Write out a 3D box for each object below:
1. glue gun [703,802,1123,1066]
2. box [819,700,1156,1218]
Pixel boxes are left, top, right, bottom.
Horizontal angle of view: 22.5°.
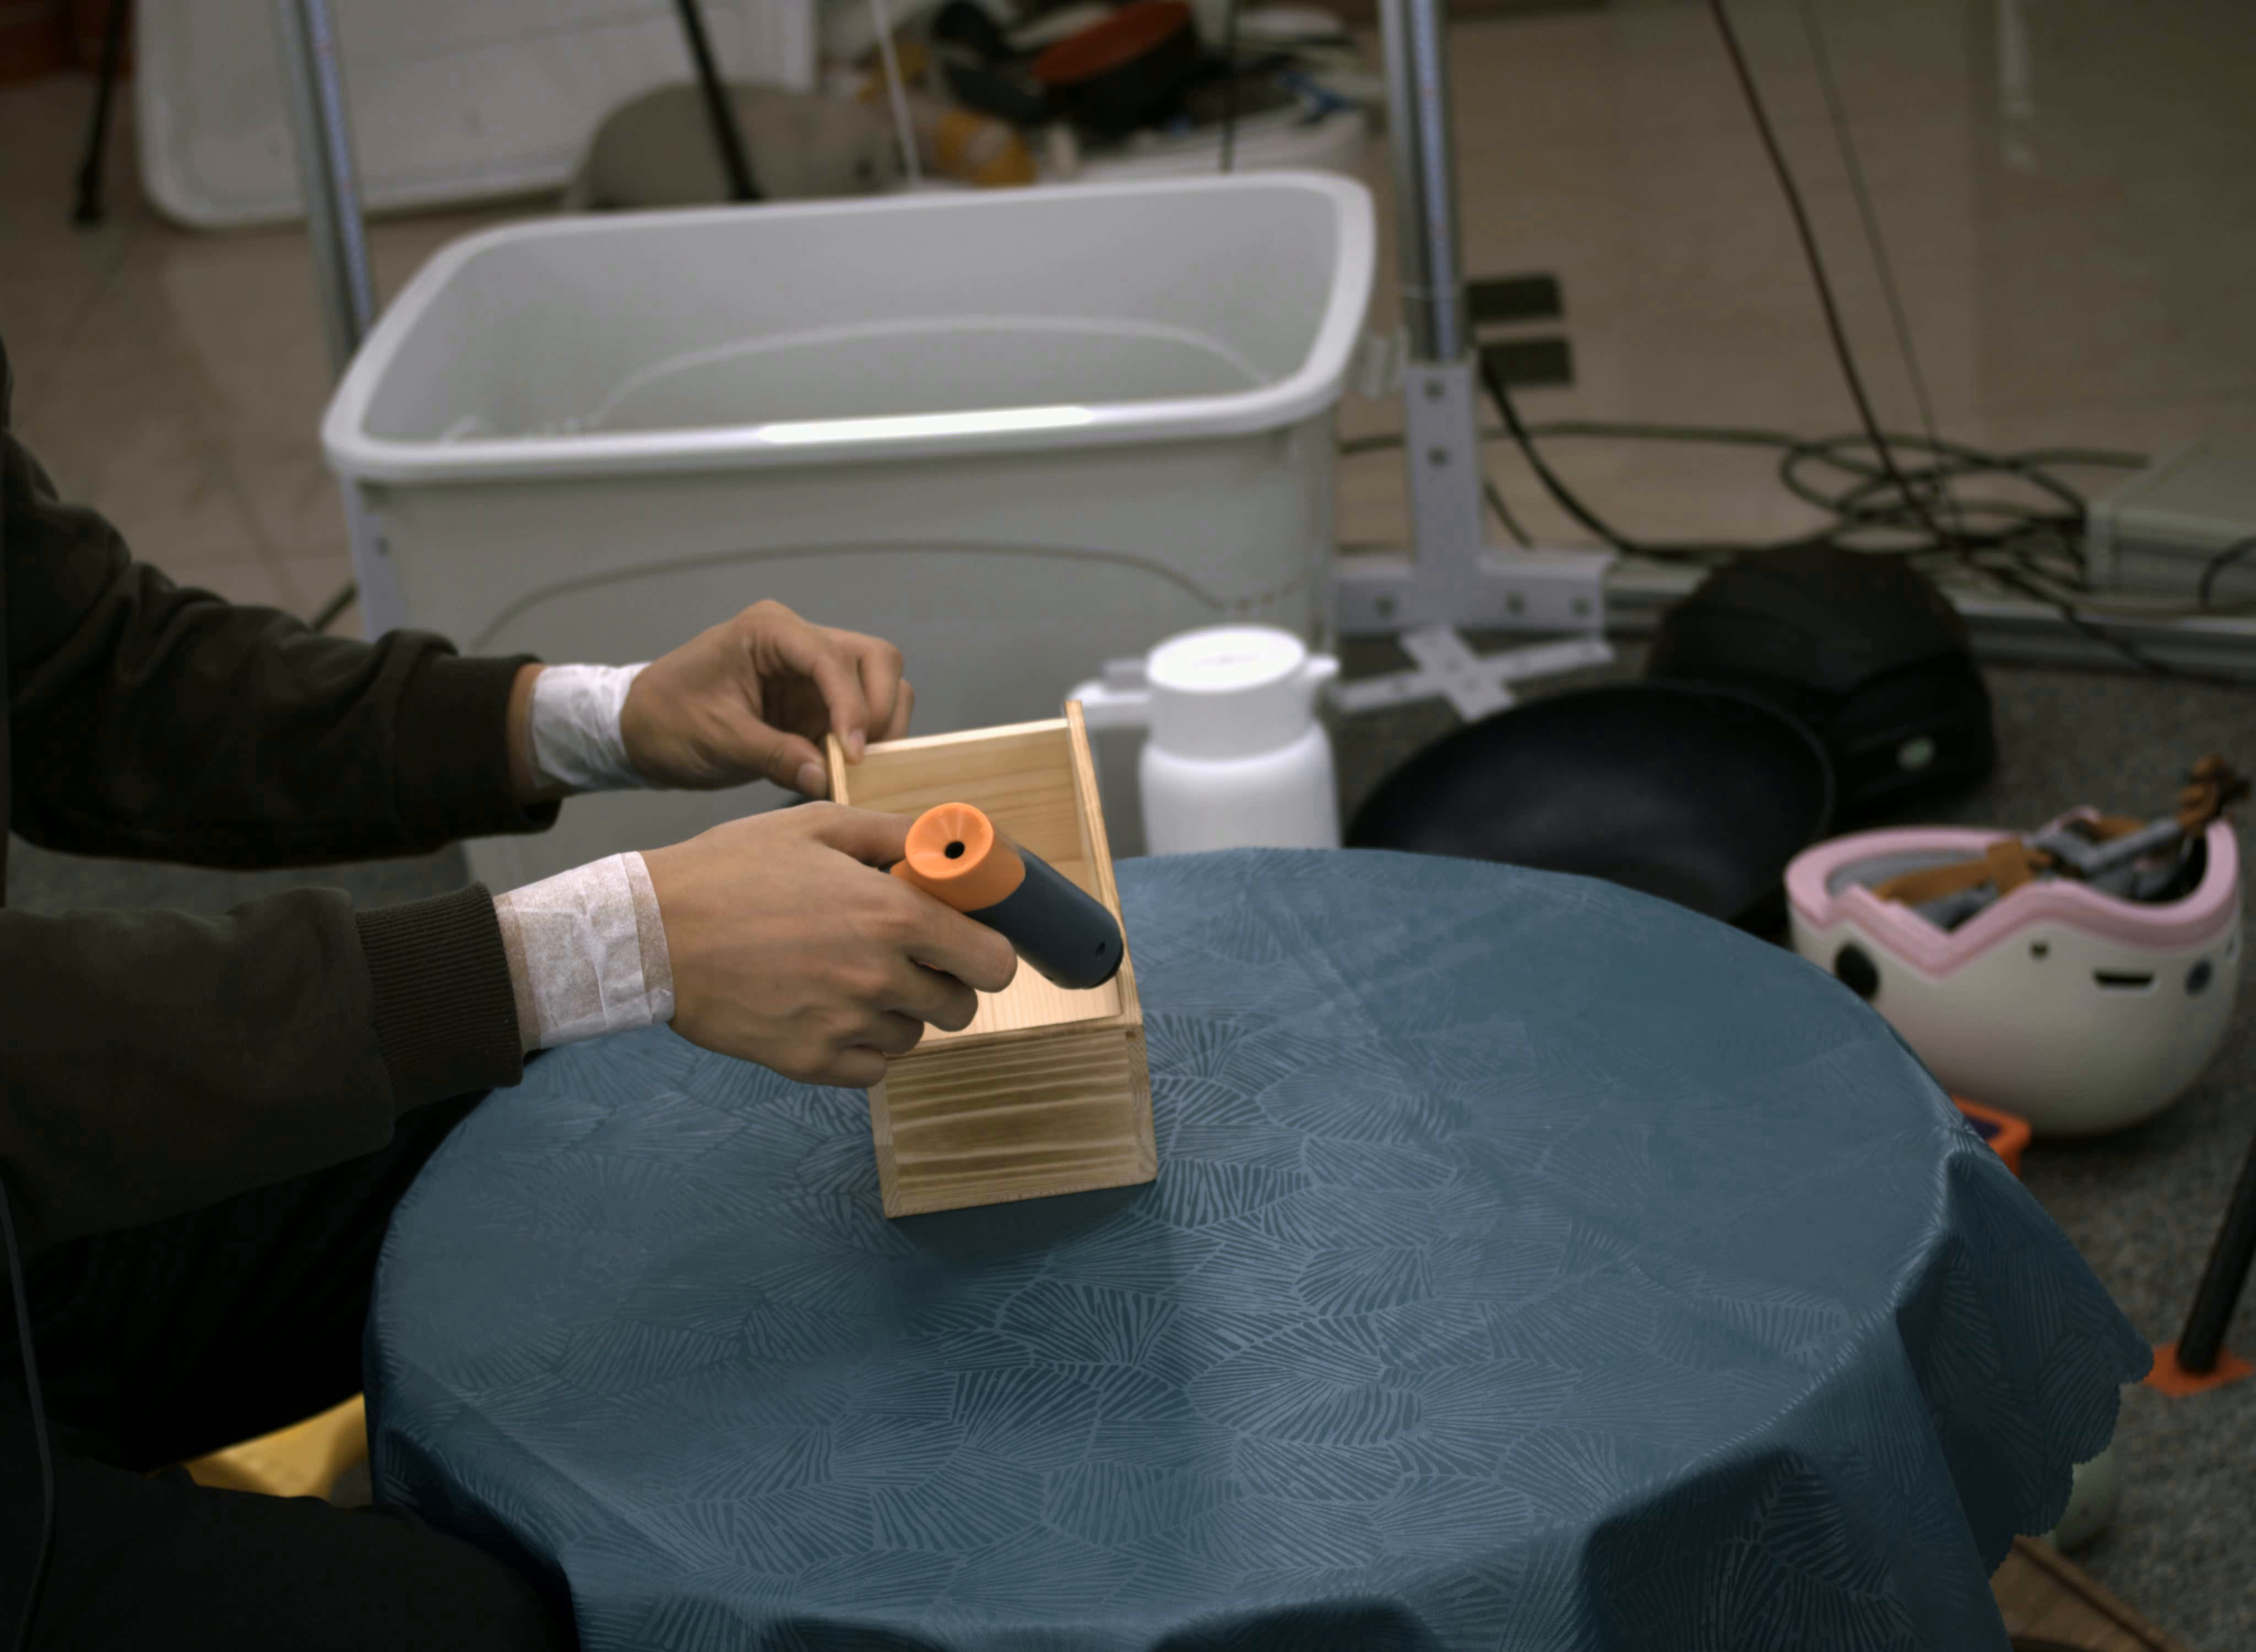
[{"bbox_3d":[-0.078,0.044,2.089,0.140,0.120,0.040,-16,55,6],"label":"glue gun"},{"bbox_3d":[-0.056,0.050,2.209,0.107,0.082,0.207,-9,38,-2],"label":"box"}]
